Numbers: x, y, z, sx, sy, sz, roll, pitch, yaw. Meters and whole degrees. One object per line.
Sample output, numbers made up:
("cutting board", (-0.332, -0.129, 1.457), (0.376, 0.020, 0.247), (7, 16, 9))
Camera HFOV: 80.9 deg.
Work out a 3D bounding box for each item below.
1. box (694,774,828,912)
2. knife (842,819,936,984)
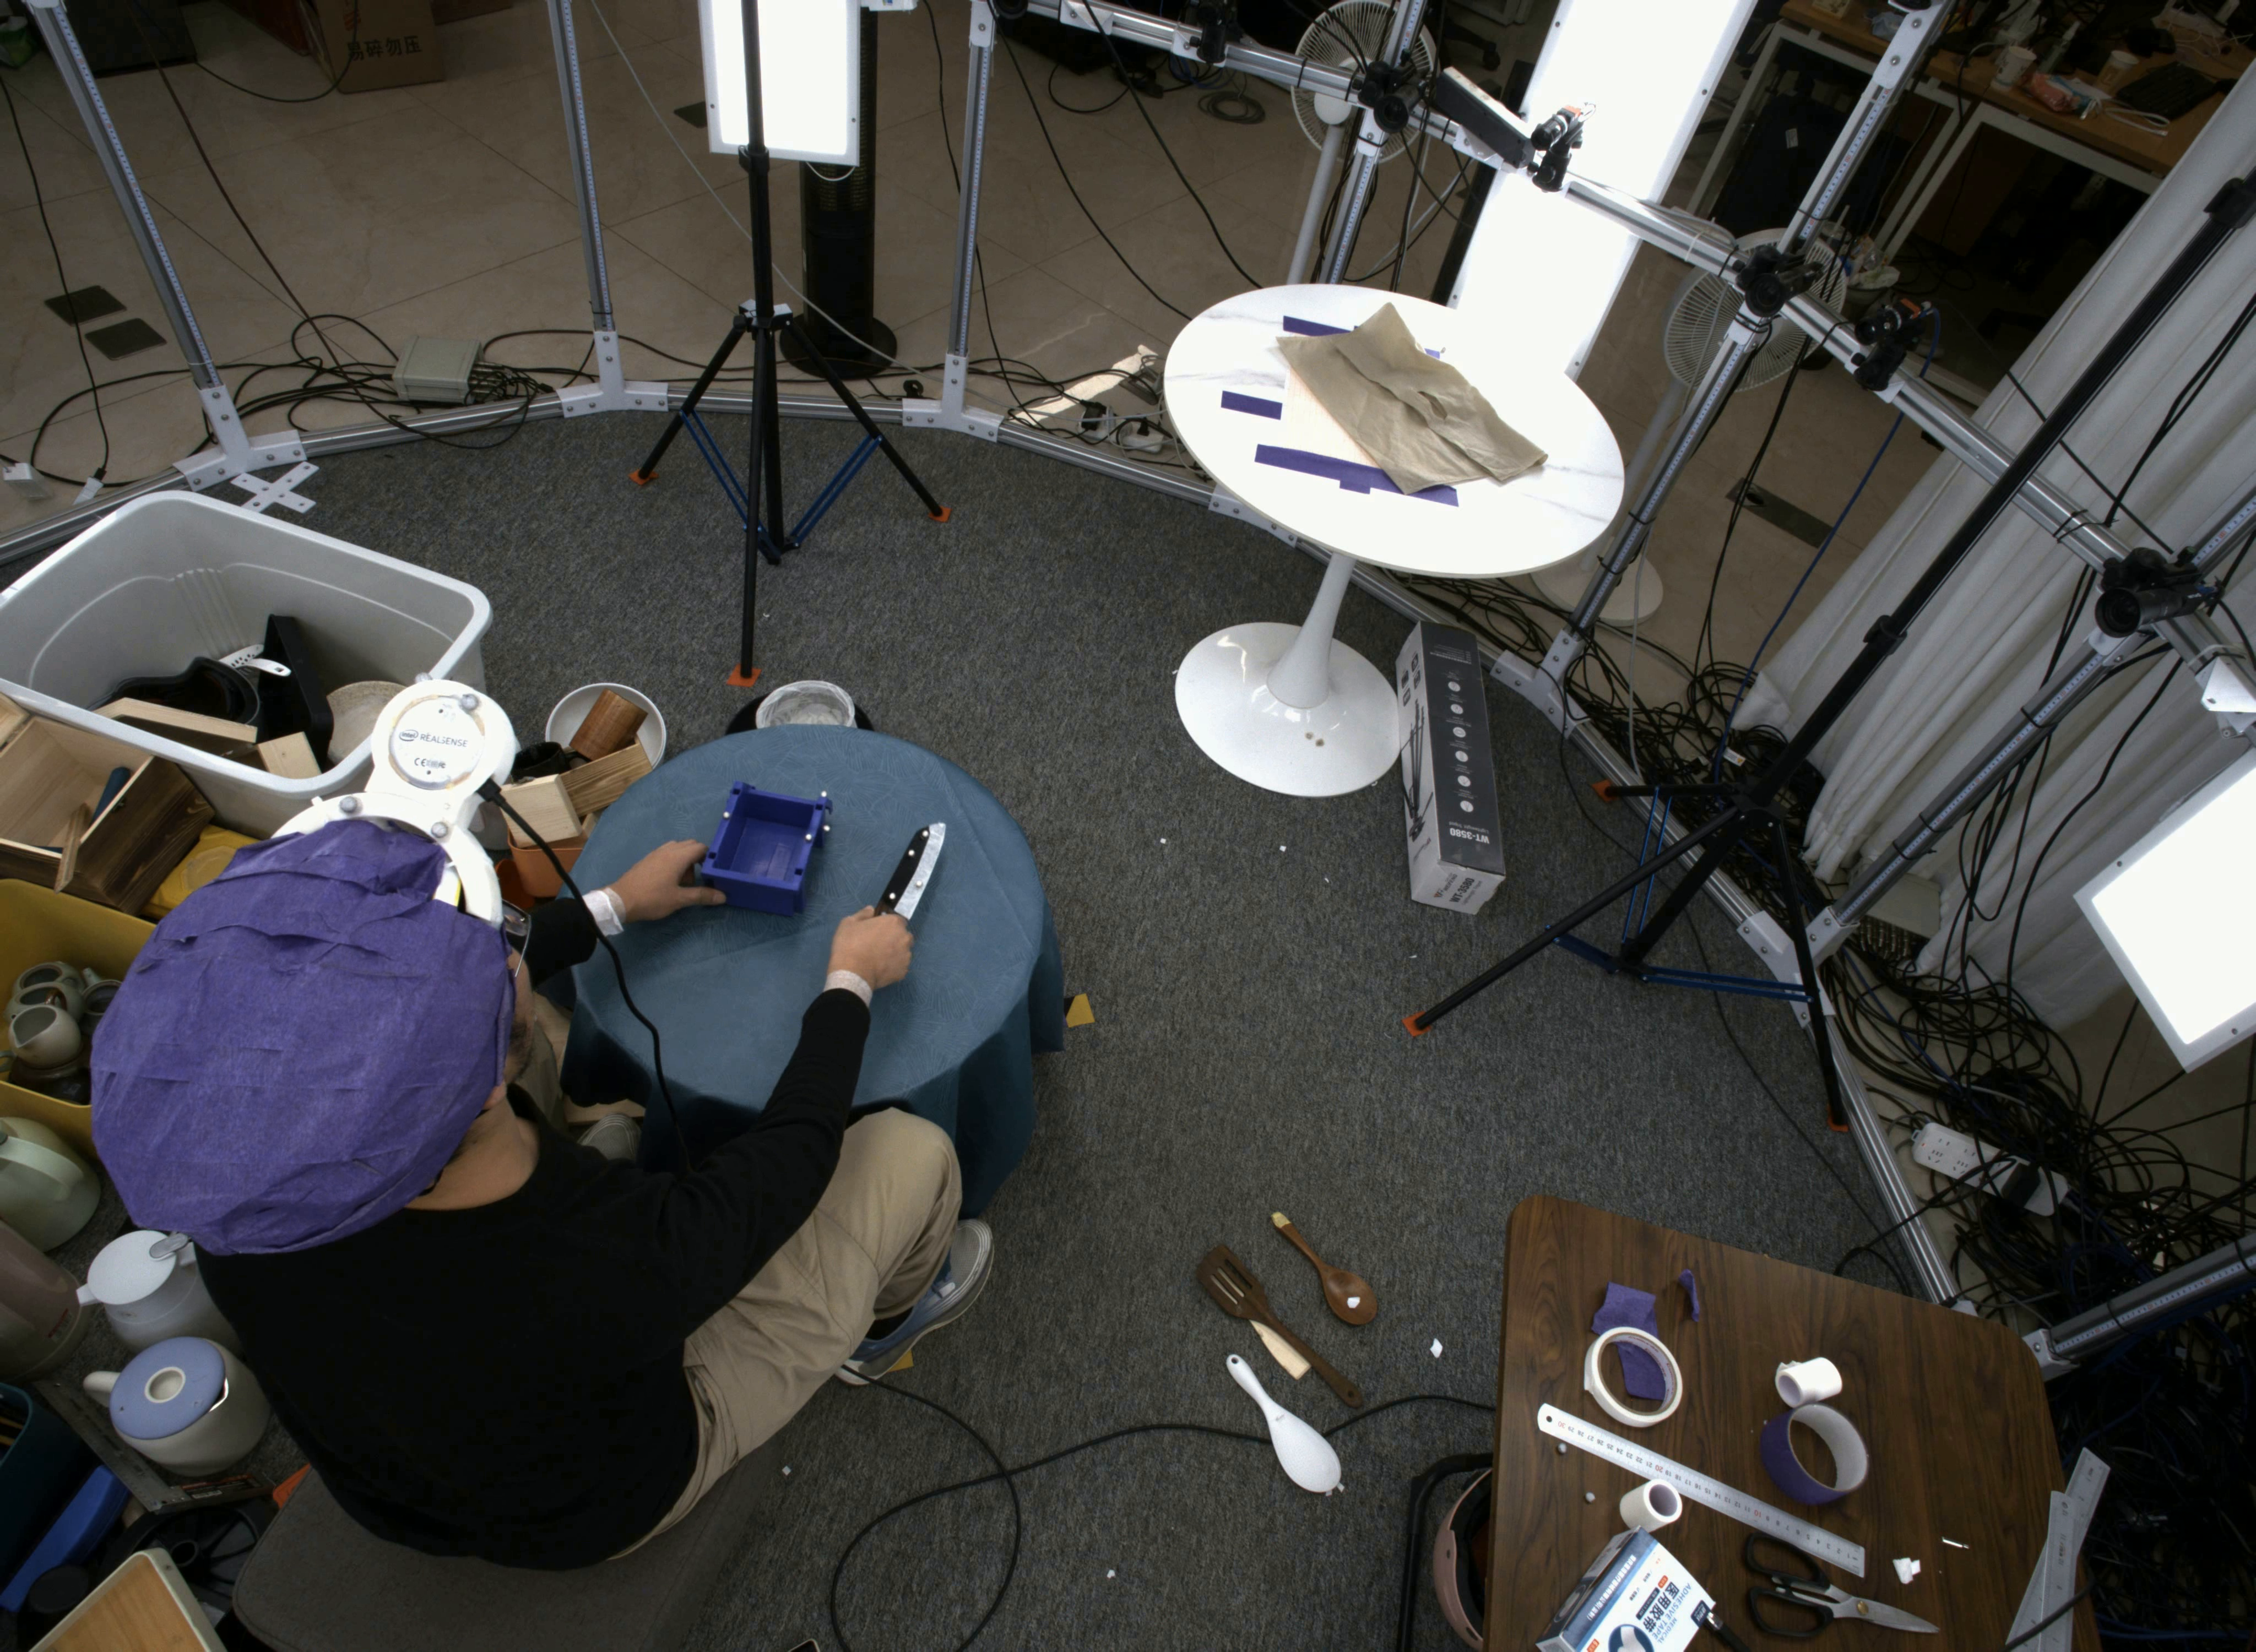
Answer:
("box", (-0.465, 0.013, 1.645), (0.124, 0.083, 0.177), (11, 54, -5))
("knife", (-0.293, 0.085, 1.619), (0.051, 0.020, 0.285), (34, 44, -13))
